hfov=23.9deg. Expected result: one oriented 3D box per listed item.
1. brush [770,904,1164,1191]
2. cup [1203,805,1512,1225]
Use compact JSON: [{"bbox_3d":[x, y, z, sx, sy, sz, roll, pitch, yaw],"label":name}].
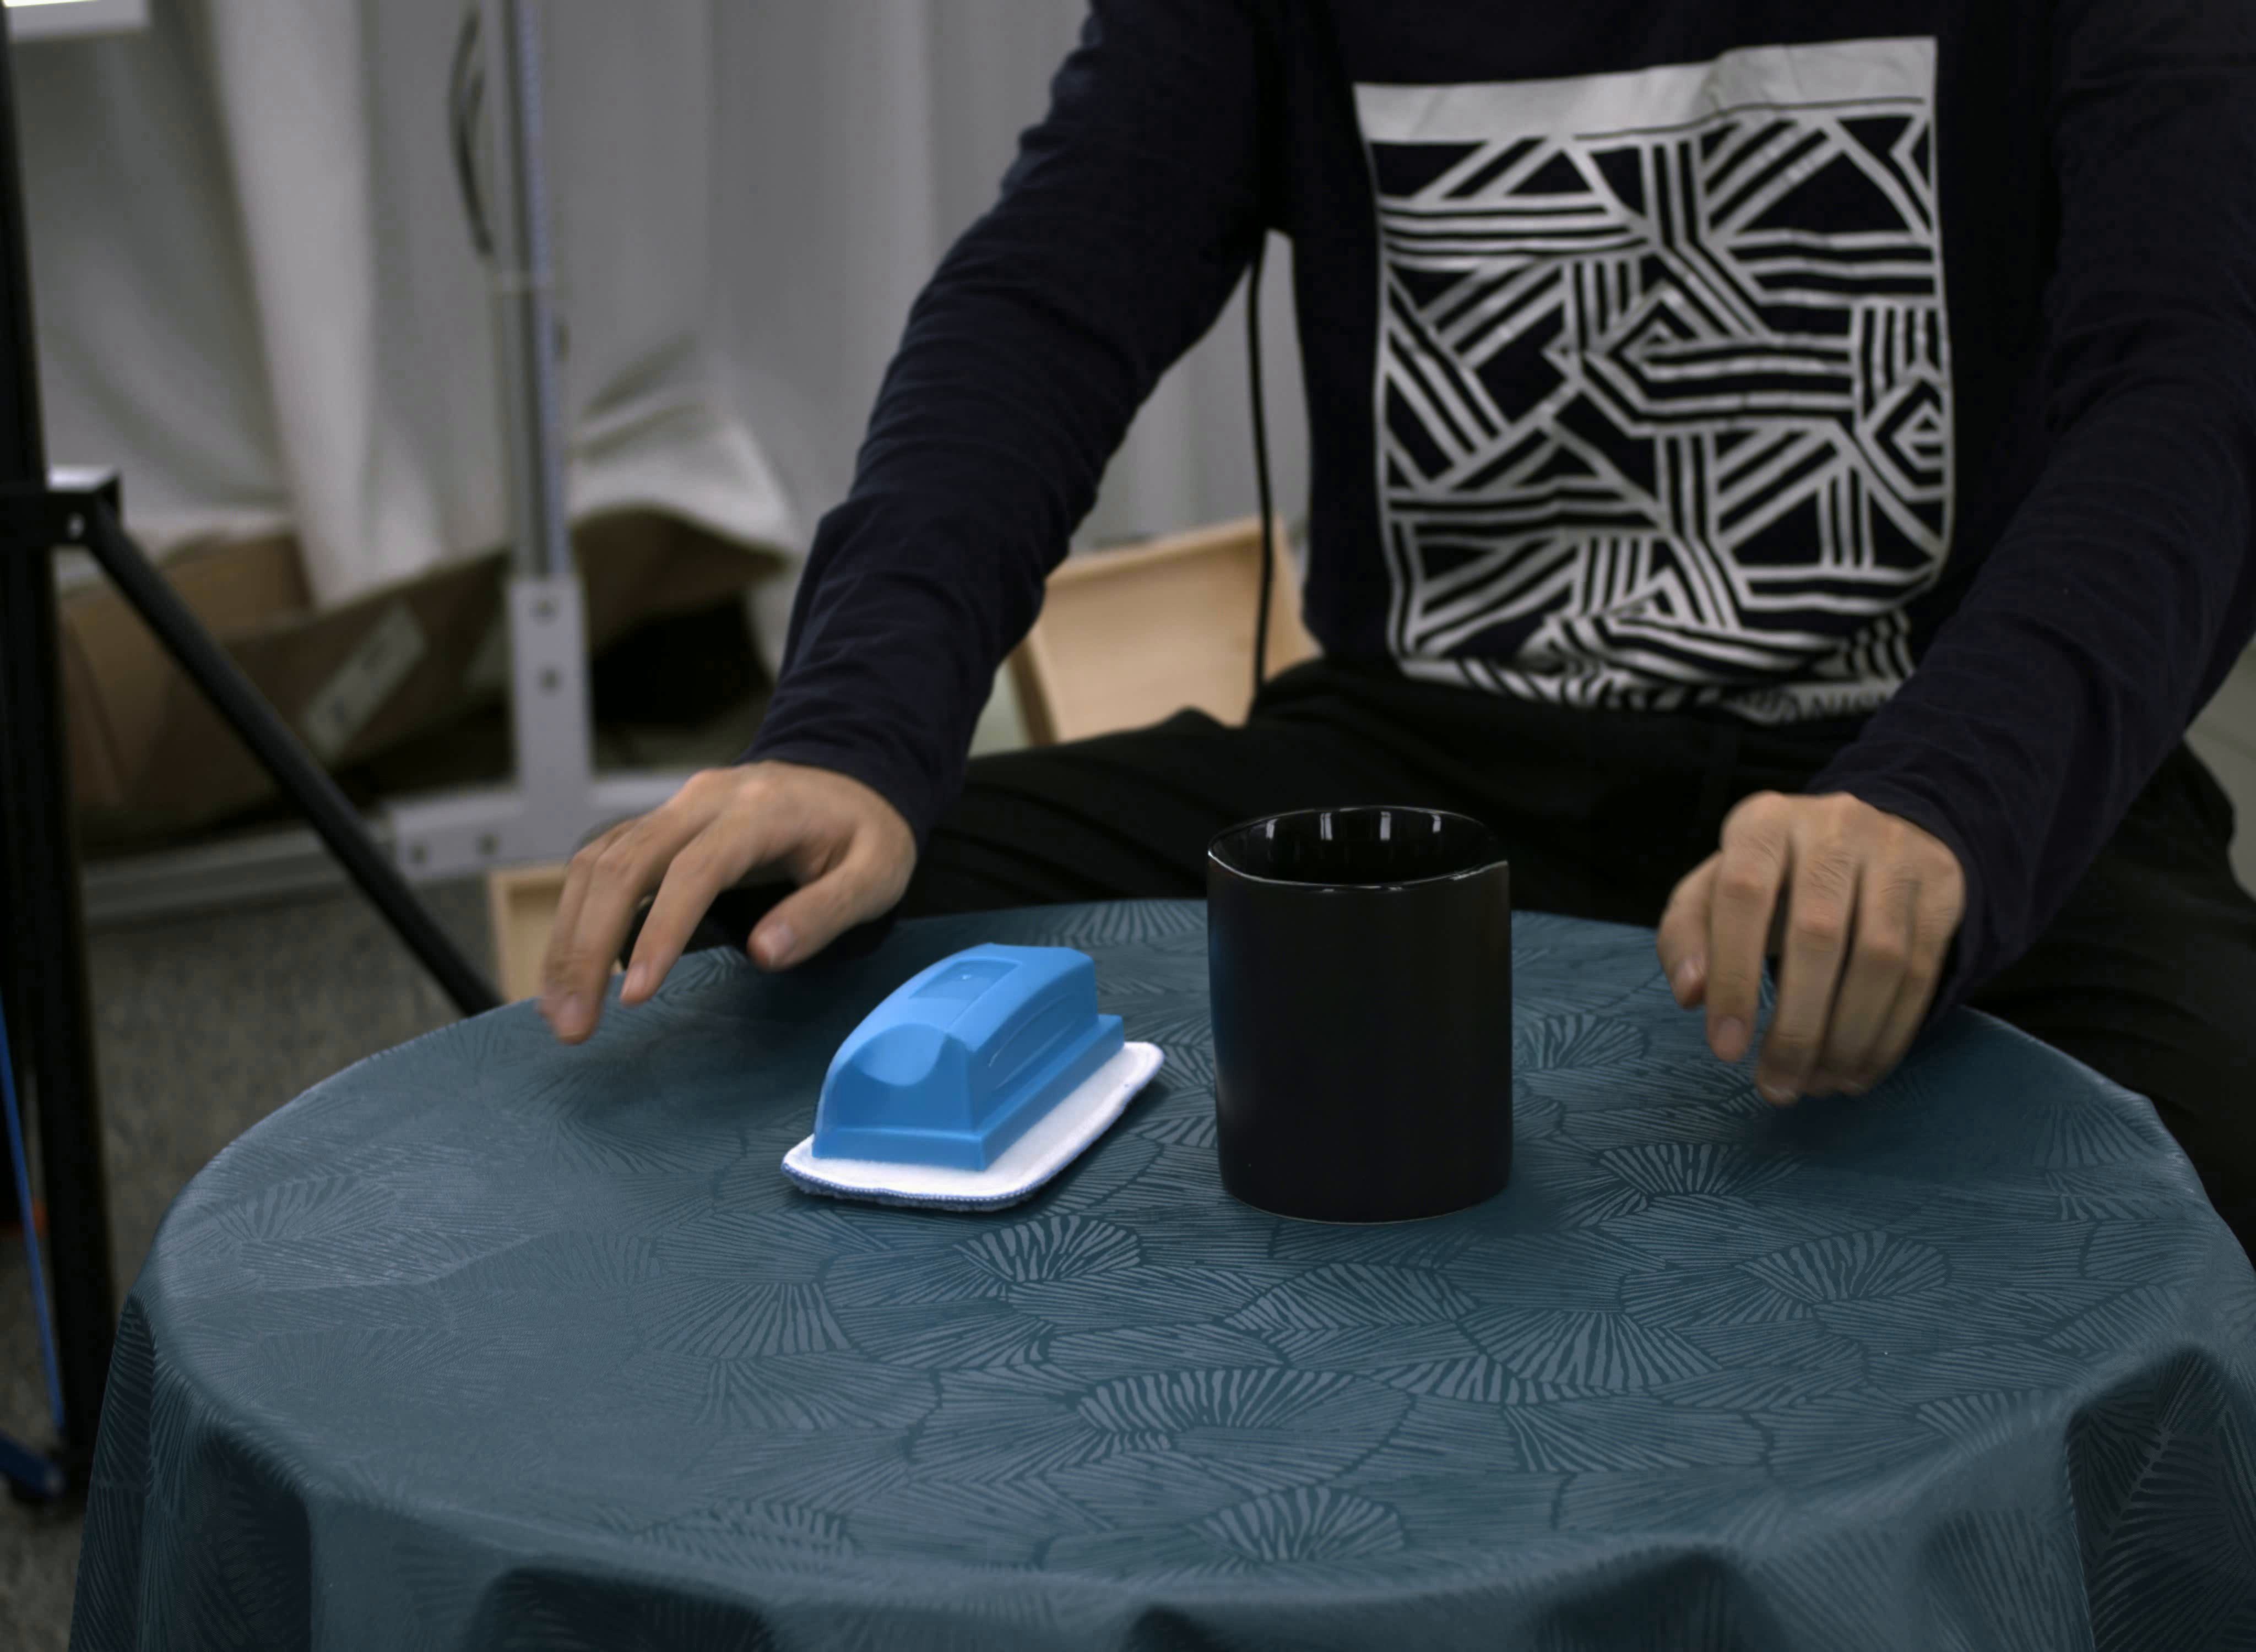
[{"bbox_3d":[-0.047,0.063,1.615,0.085,0.056,0.142,7,21,22],"label":"brush"},{"bbox_3d":[0.076,0.051,1.566,0.090,0.105,0.121,5,14,30],"label":"cup"}]
